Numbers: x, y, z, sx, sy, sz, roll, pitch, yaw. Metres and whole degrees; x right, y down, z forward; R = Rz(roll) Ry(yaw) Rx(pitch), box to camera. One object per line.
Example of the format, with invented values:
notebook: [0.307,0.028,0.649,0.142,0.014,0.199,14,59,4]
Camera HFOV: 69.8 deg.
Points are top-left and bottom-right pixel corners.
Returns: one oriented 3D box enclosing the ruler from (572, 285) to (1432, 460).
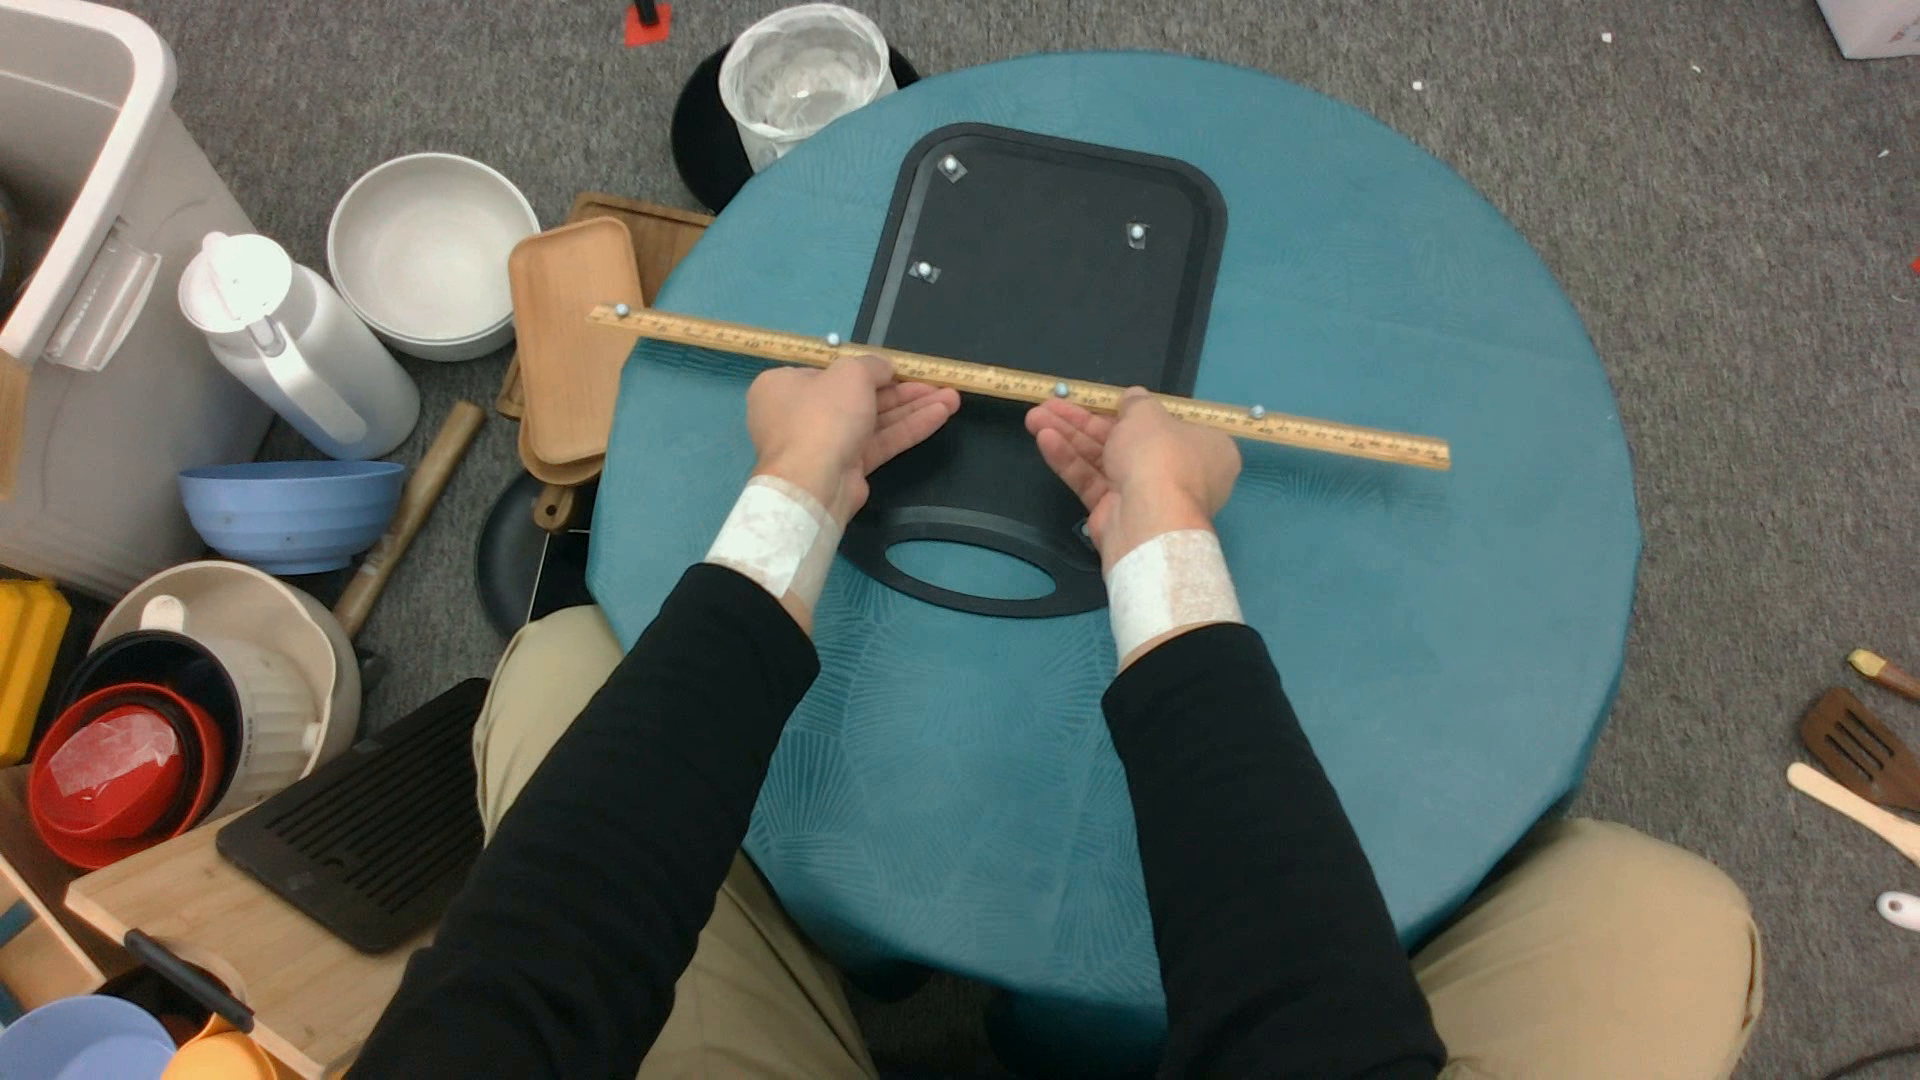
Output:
ruler: [0.018,-0.098,0.790,0.500,0.006,0.027,11,40,6]

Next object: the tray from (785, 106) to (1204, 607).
tray: [0.024,-0.116,0.825,0.211,0.010,0.326,12,70,4]
